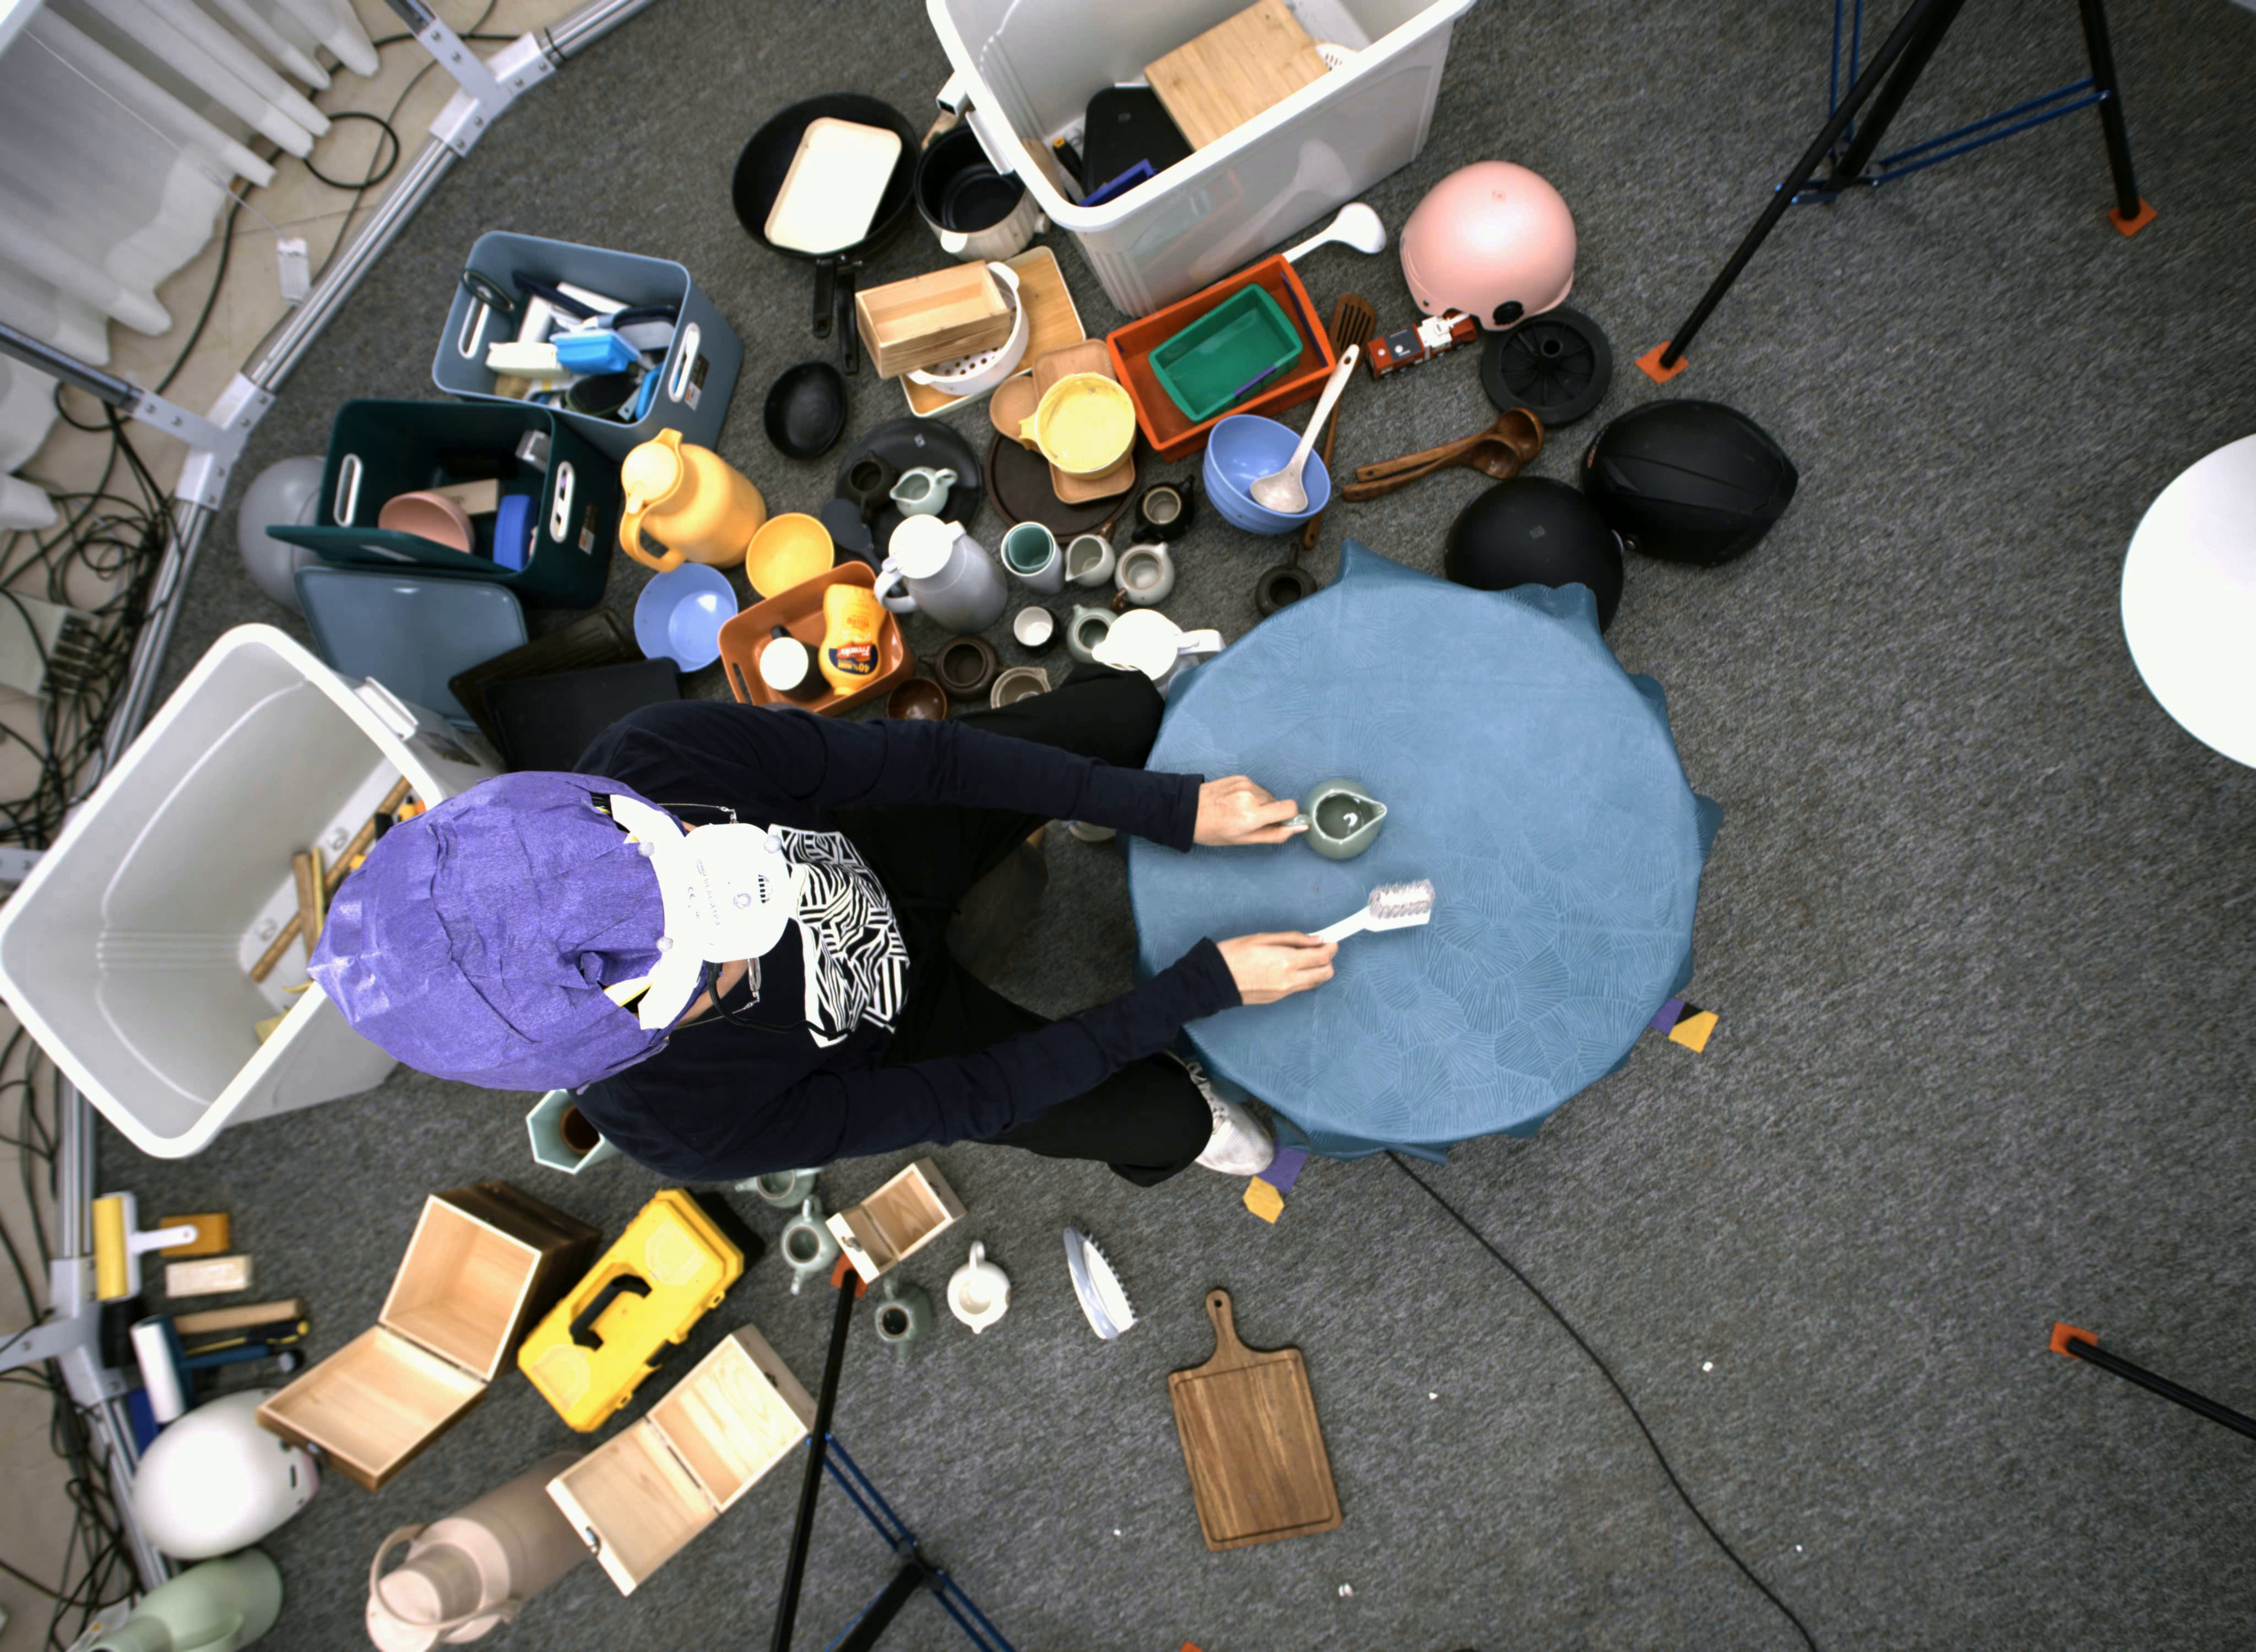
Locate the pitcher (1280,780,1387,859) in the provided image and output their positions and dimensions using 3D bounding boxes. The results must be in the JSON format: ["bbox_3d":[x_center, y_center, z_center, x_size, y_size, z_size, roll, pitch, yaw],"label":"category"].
[{"bbox_3d":[0.215,-0.008,1.443,0.113,0.056,0.083,-11,81,8],"label":"pitcher"}]

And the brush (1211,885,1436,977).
[{"bbox_3d":[0.197,0.108,1.426,0.245,0.051,0.033,-17,60,12],"label":"brush"}]
